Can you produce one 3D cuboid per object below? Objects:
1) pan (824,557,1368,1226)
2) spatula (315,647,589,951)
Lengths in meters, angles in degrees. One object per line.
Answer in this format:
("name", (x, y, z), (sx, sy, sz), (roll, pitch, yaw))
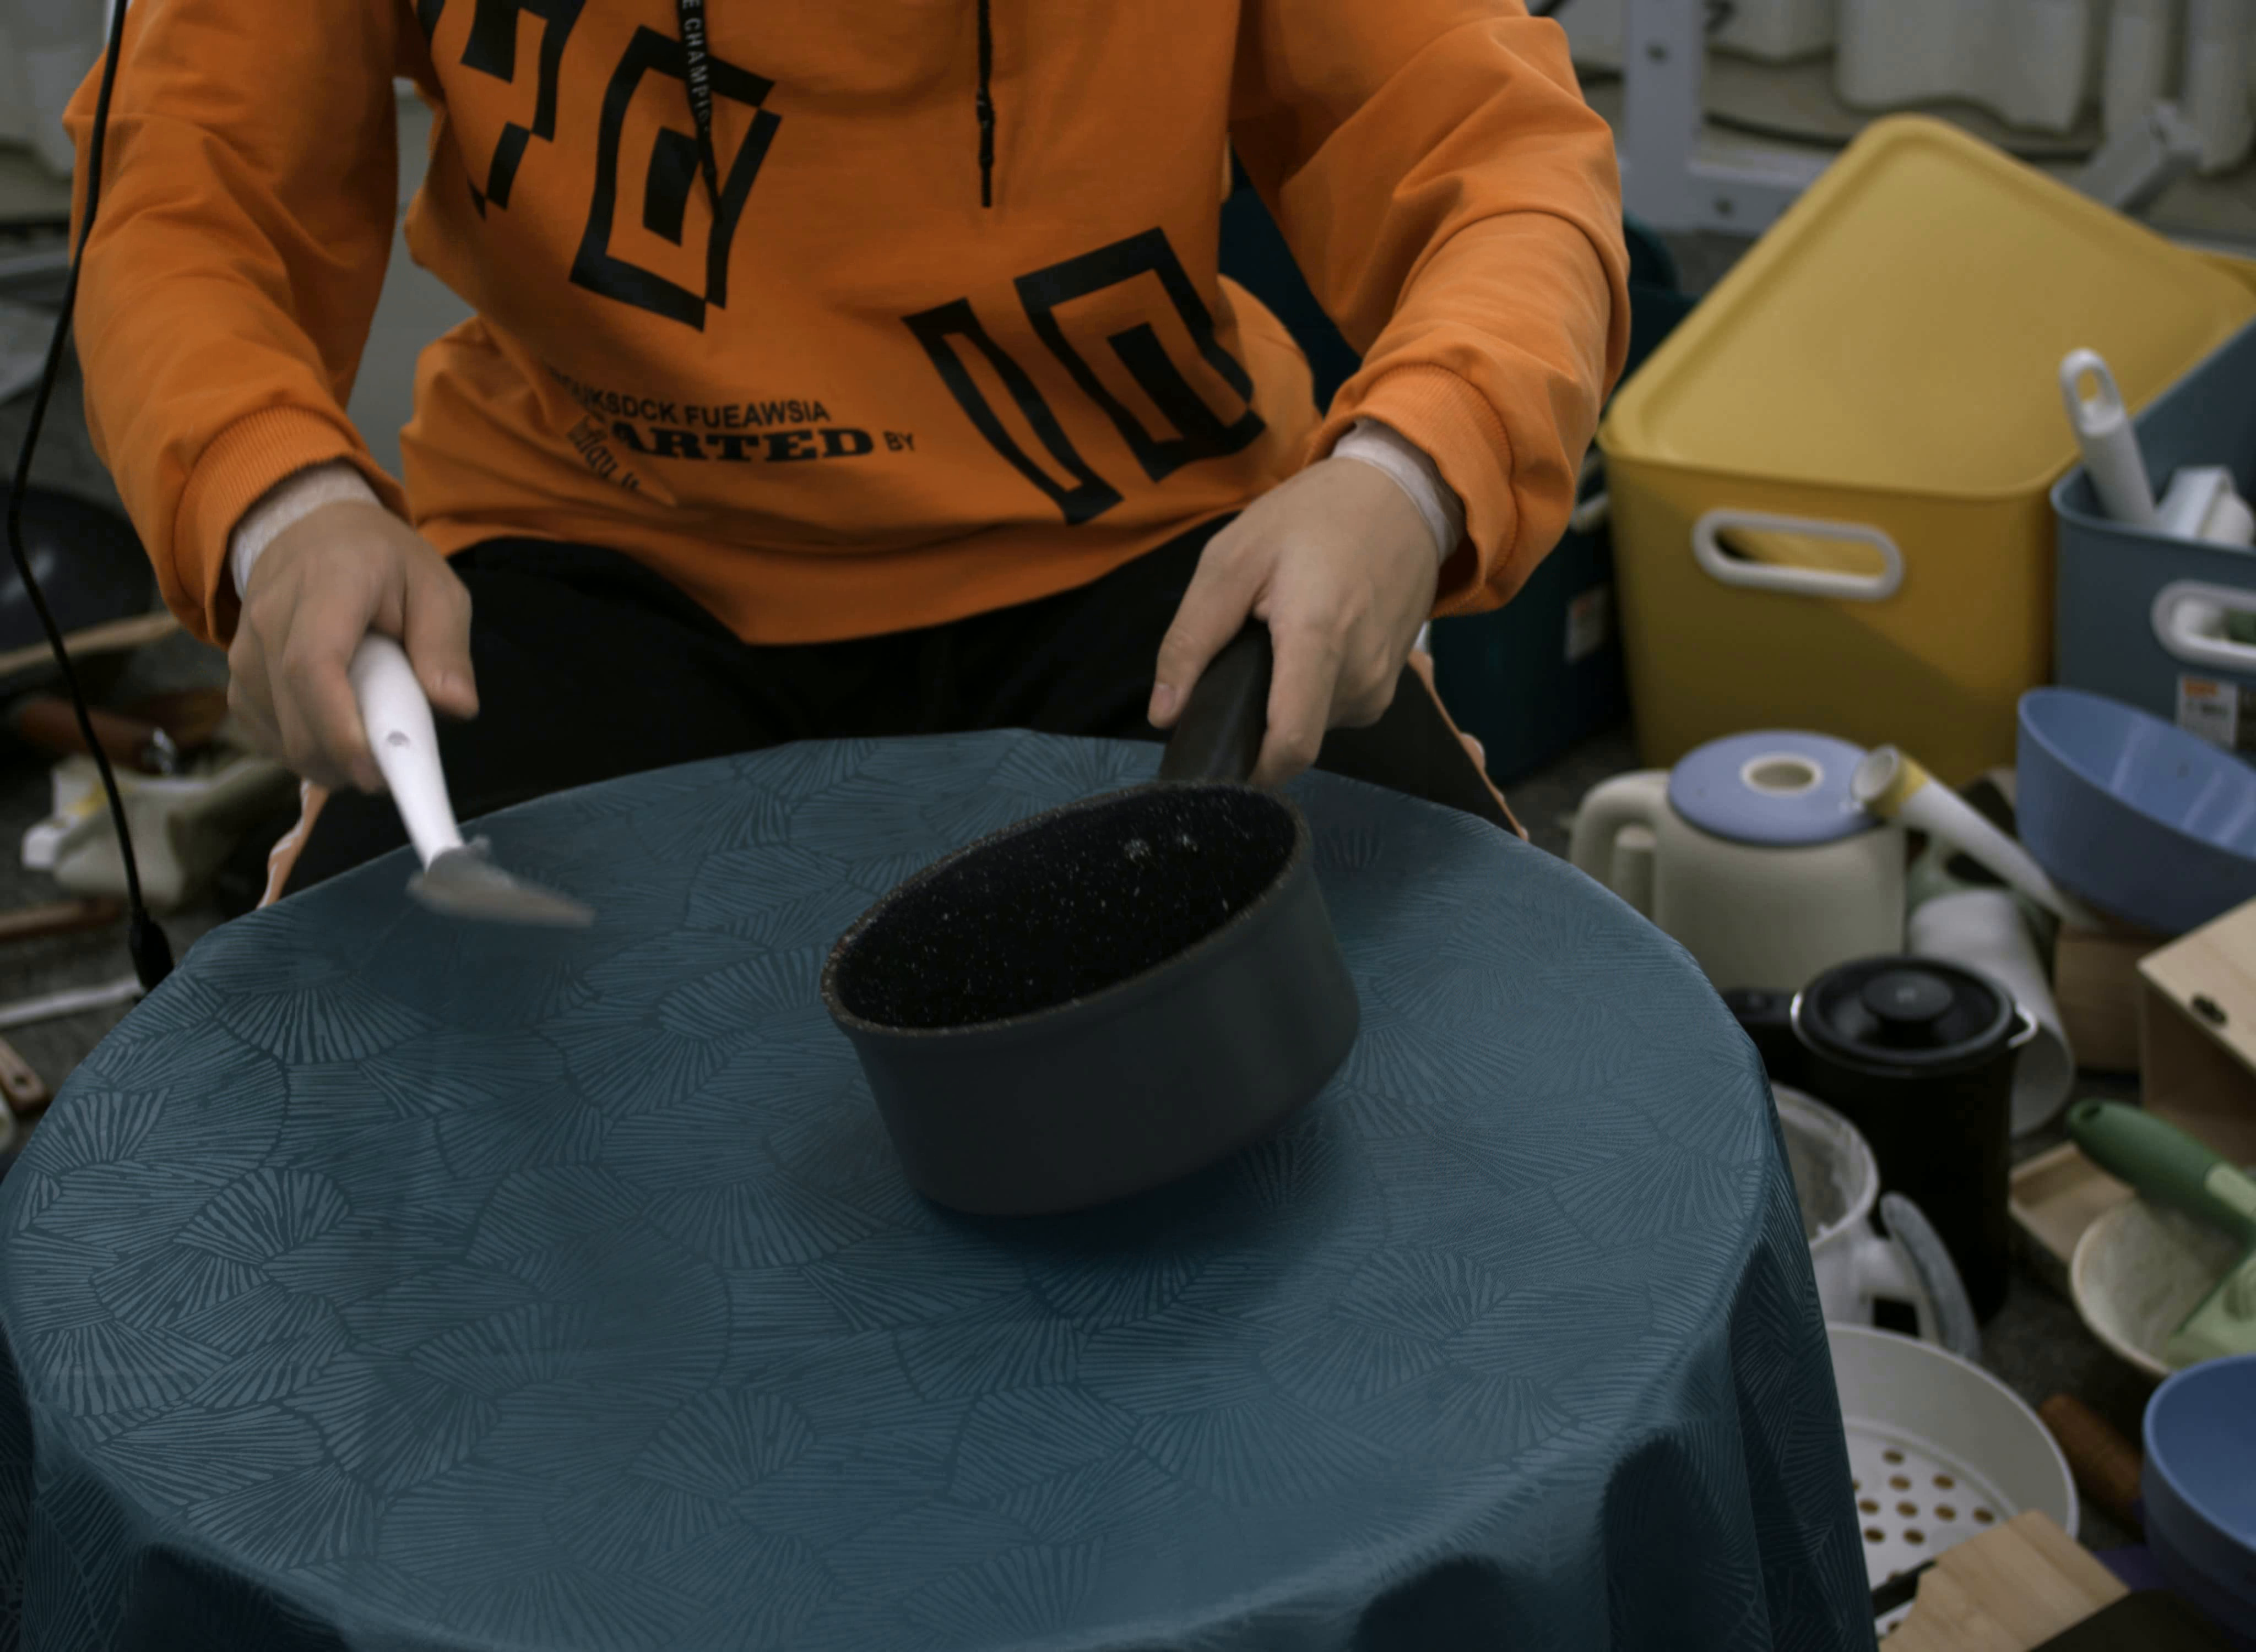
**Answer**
("pan", (0.019, 0.020, 1.926), (0.170, 0.086, 0.335), (-6, 26, 27))
("spatula", (-0.232, -0.002, 1.867), (0.058, 0.032, 0.289), (11, 15, -20))
